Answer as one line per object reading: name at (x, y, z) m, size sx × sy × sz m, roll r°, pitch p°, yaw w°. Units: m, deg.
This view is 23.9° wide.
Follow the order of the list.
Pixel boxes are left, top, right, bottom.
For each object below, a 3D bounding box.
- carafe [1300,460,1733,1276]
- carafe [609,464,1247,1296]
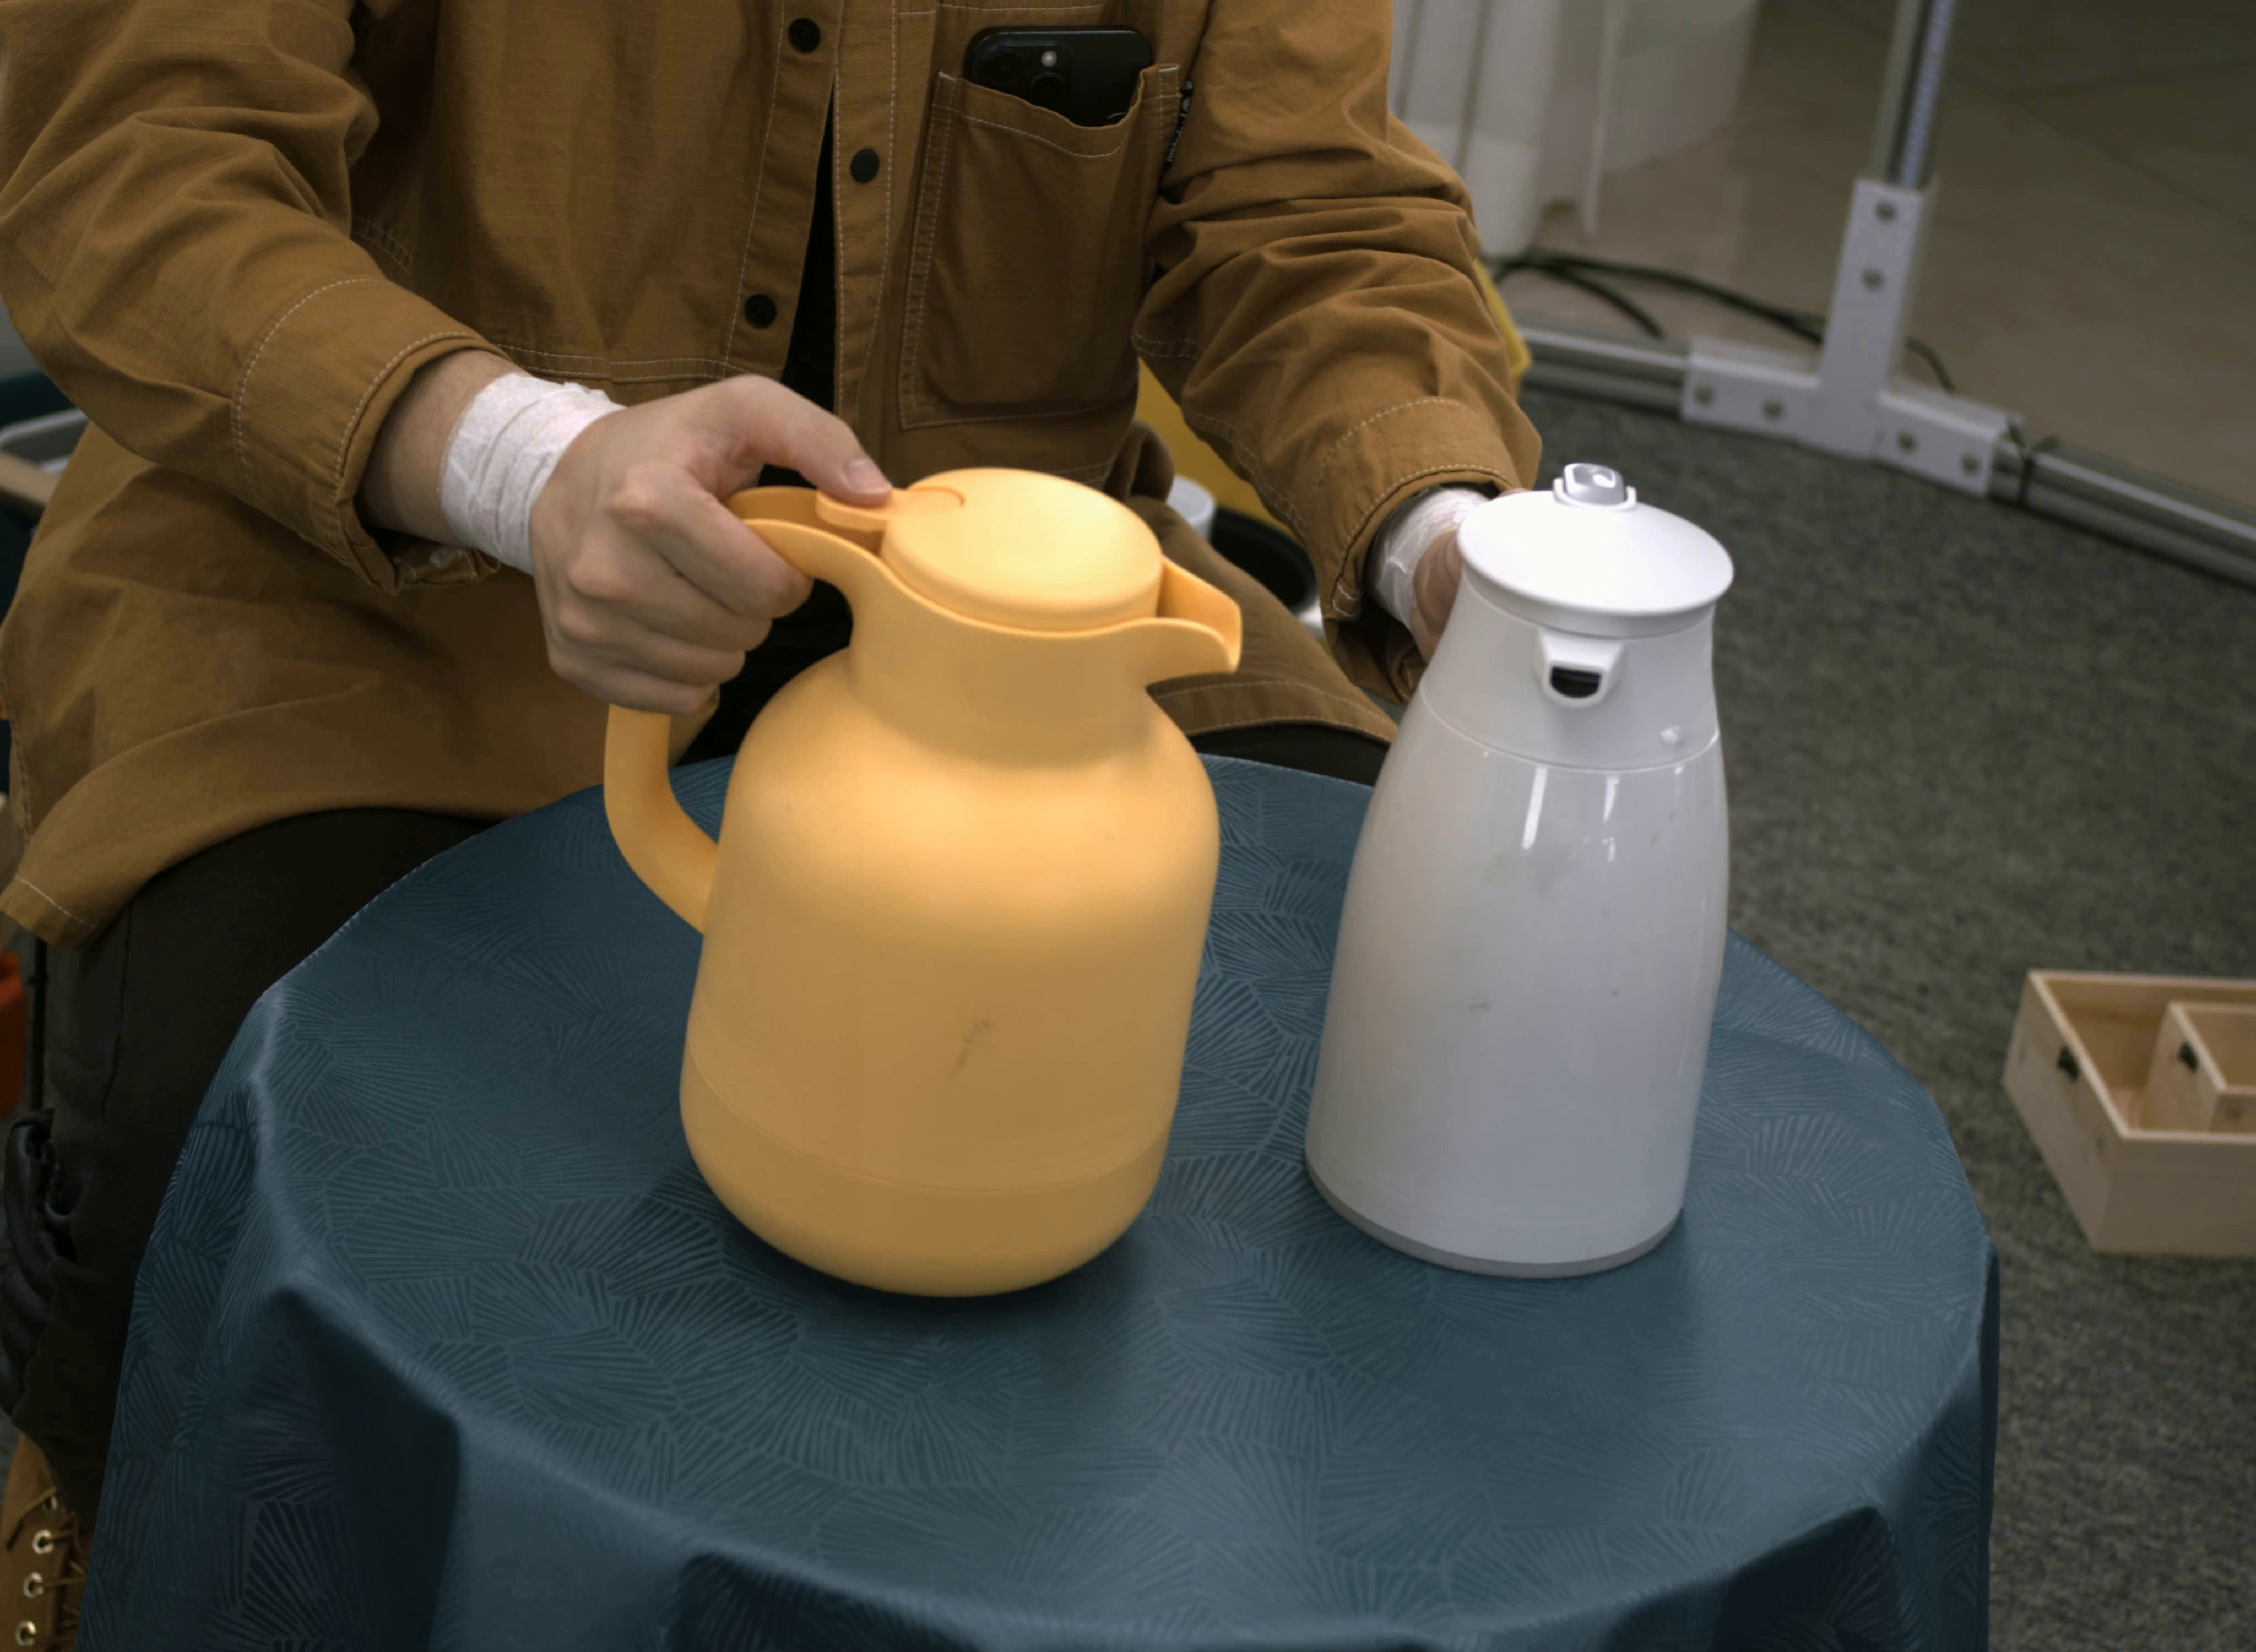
carafe at (0.139, 0.003, 1.800) m, size 0.132 × 0.248 × 0.168 m, roll 9°, pitch 26°, yaw 3°
carafe at (-0.071, 0.007, 1.722) m, size 0.202 × 0.259 × 0.164 m, roll 17°, pitch 28°, yaw 8°
